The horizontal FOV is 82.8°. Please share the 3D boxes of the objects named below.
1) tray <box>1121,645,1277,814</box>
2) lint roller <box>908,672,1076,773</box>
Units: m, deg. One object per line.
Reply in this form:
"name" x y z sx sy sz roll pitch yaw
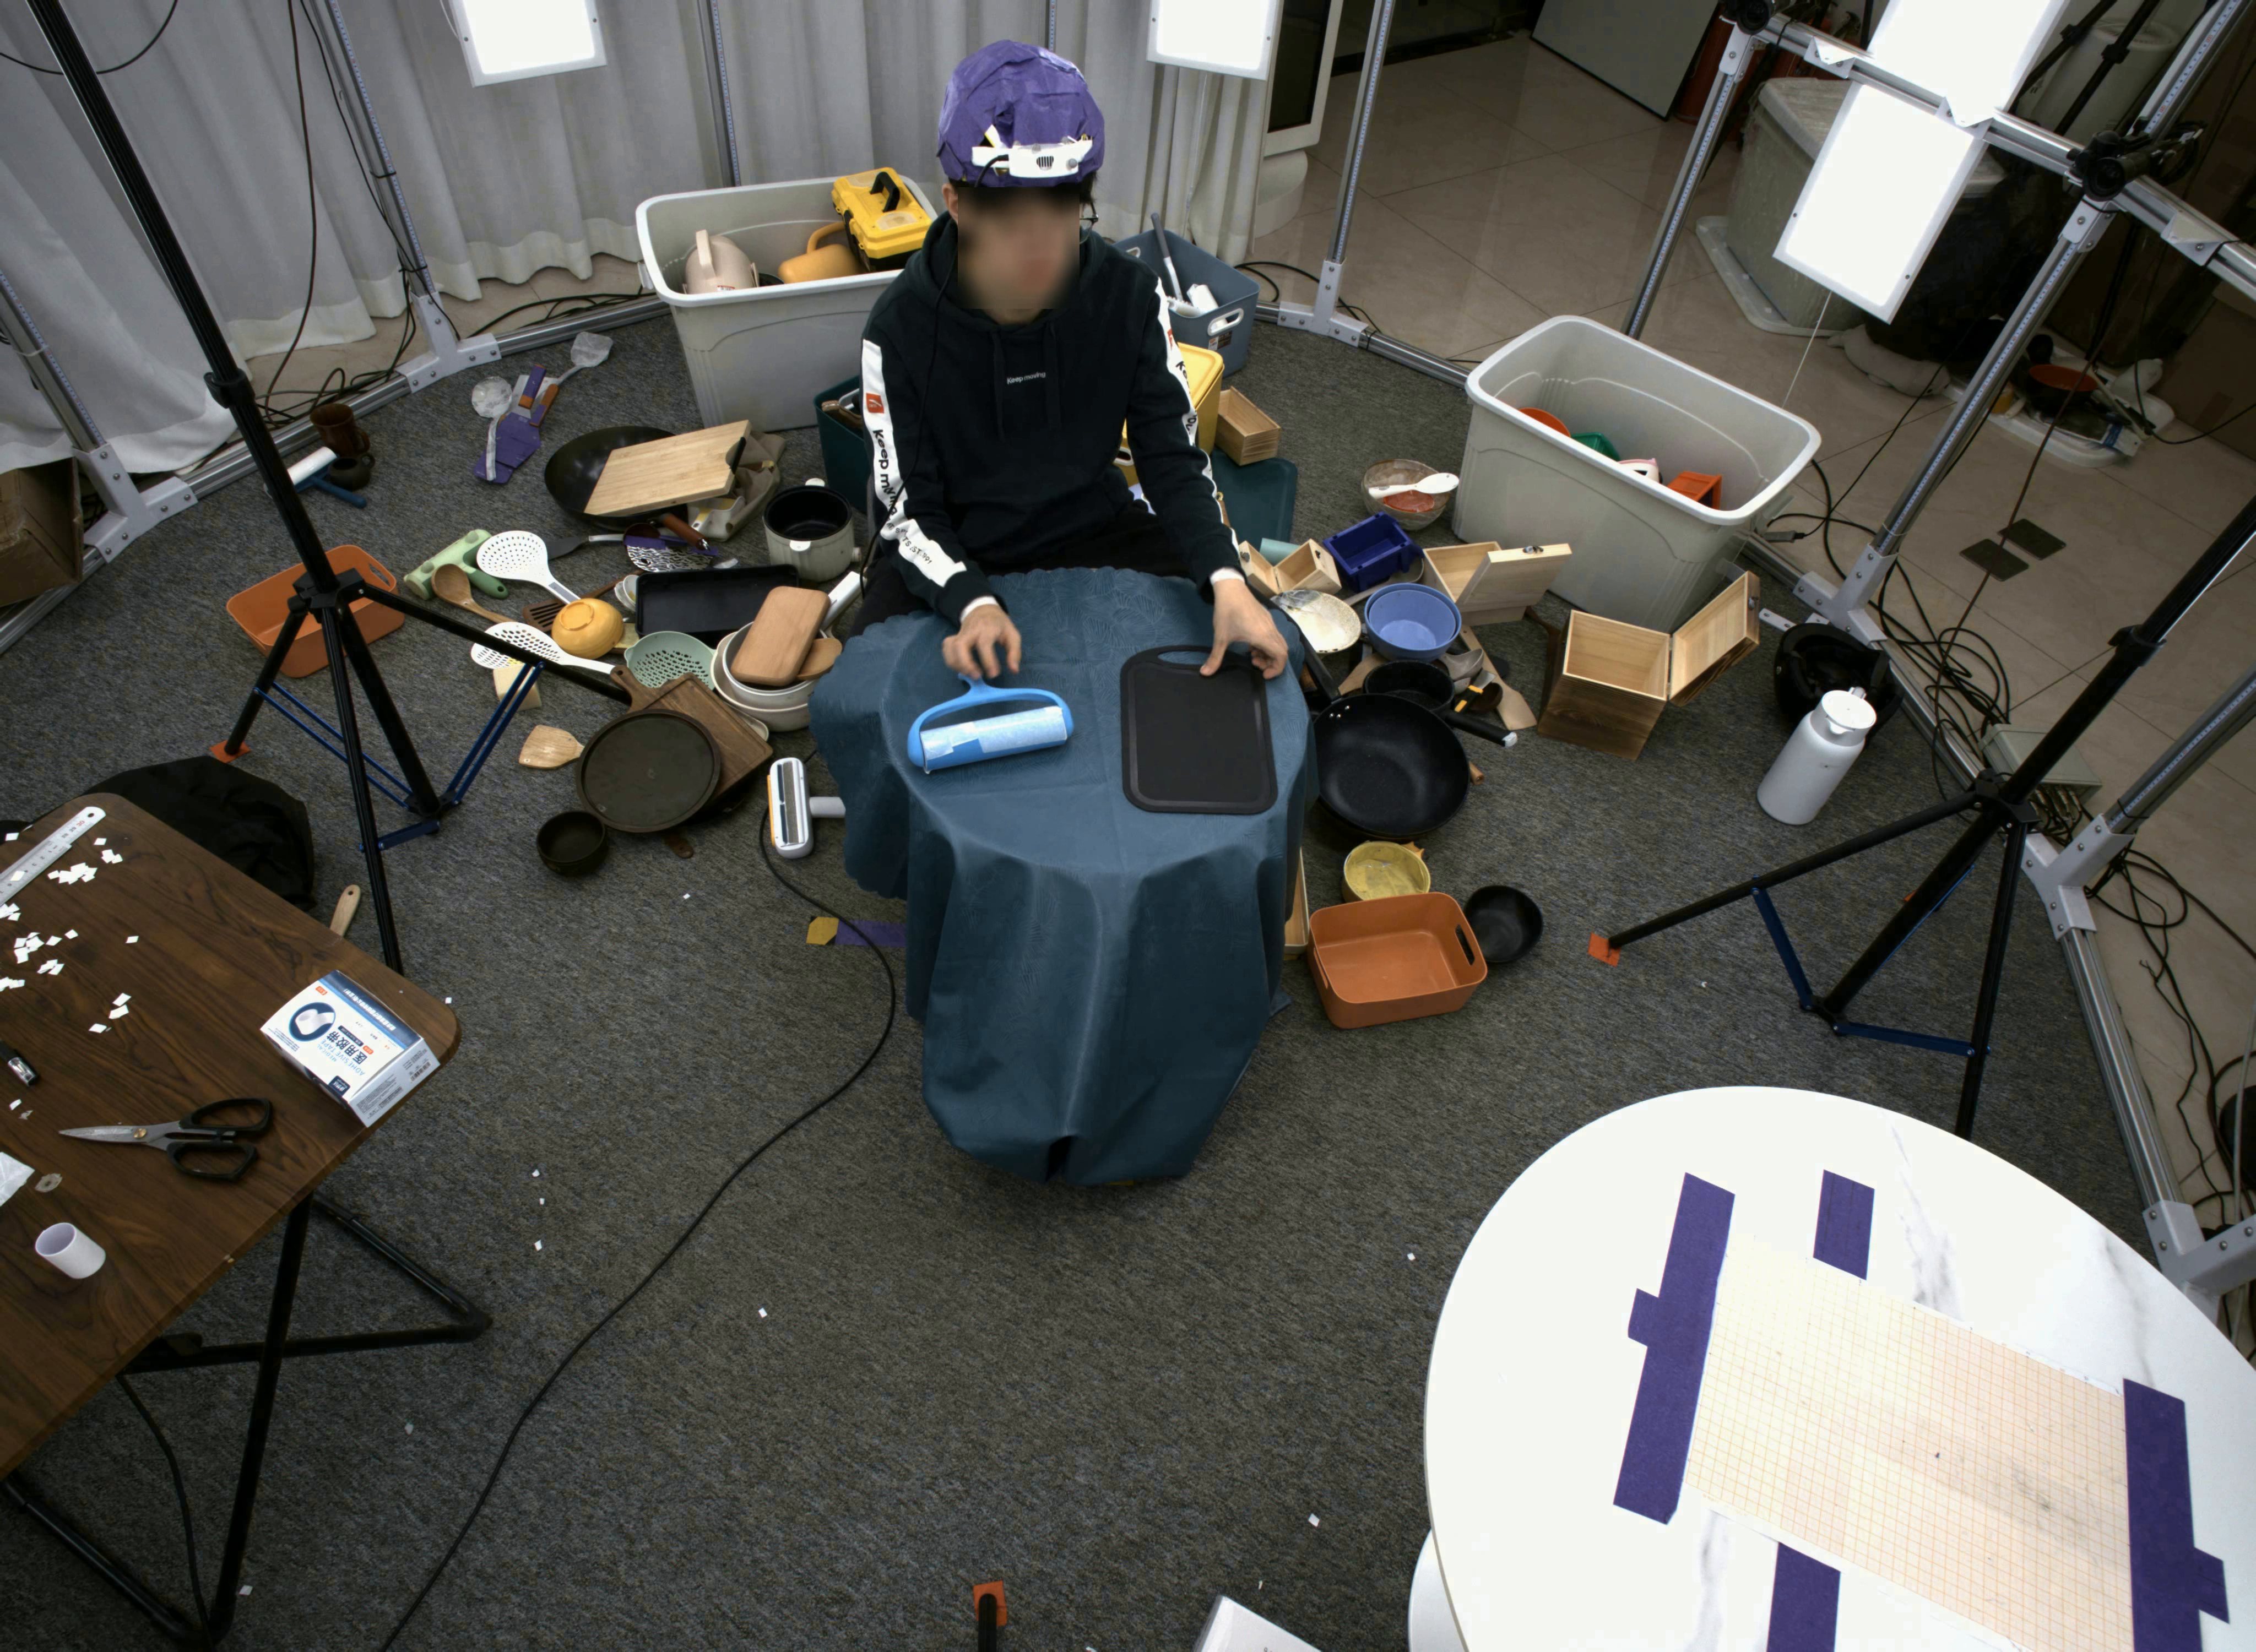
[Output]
"tray" 0.095 -0.143 1.794 0.211 0.009 0.333 2 49 -2
"lint roller" -0.202 -0.162 1.759 0.229 0.066 0.184 -15 53 -14
